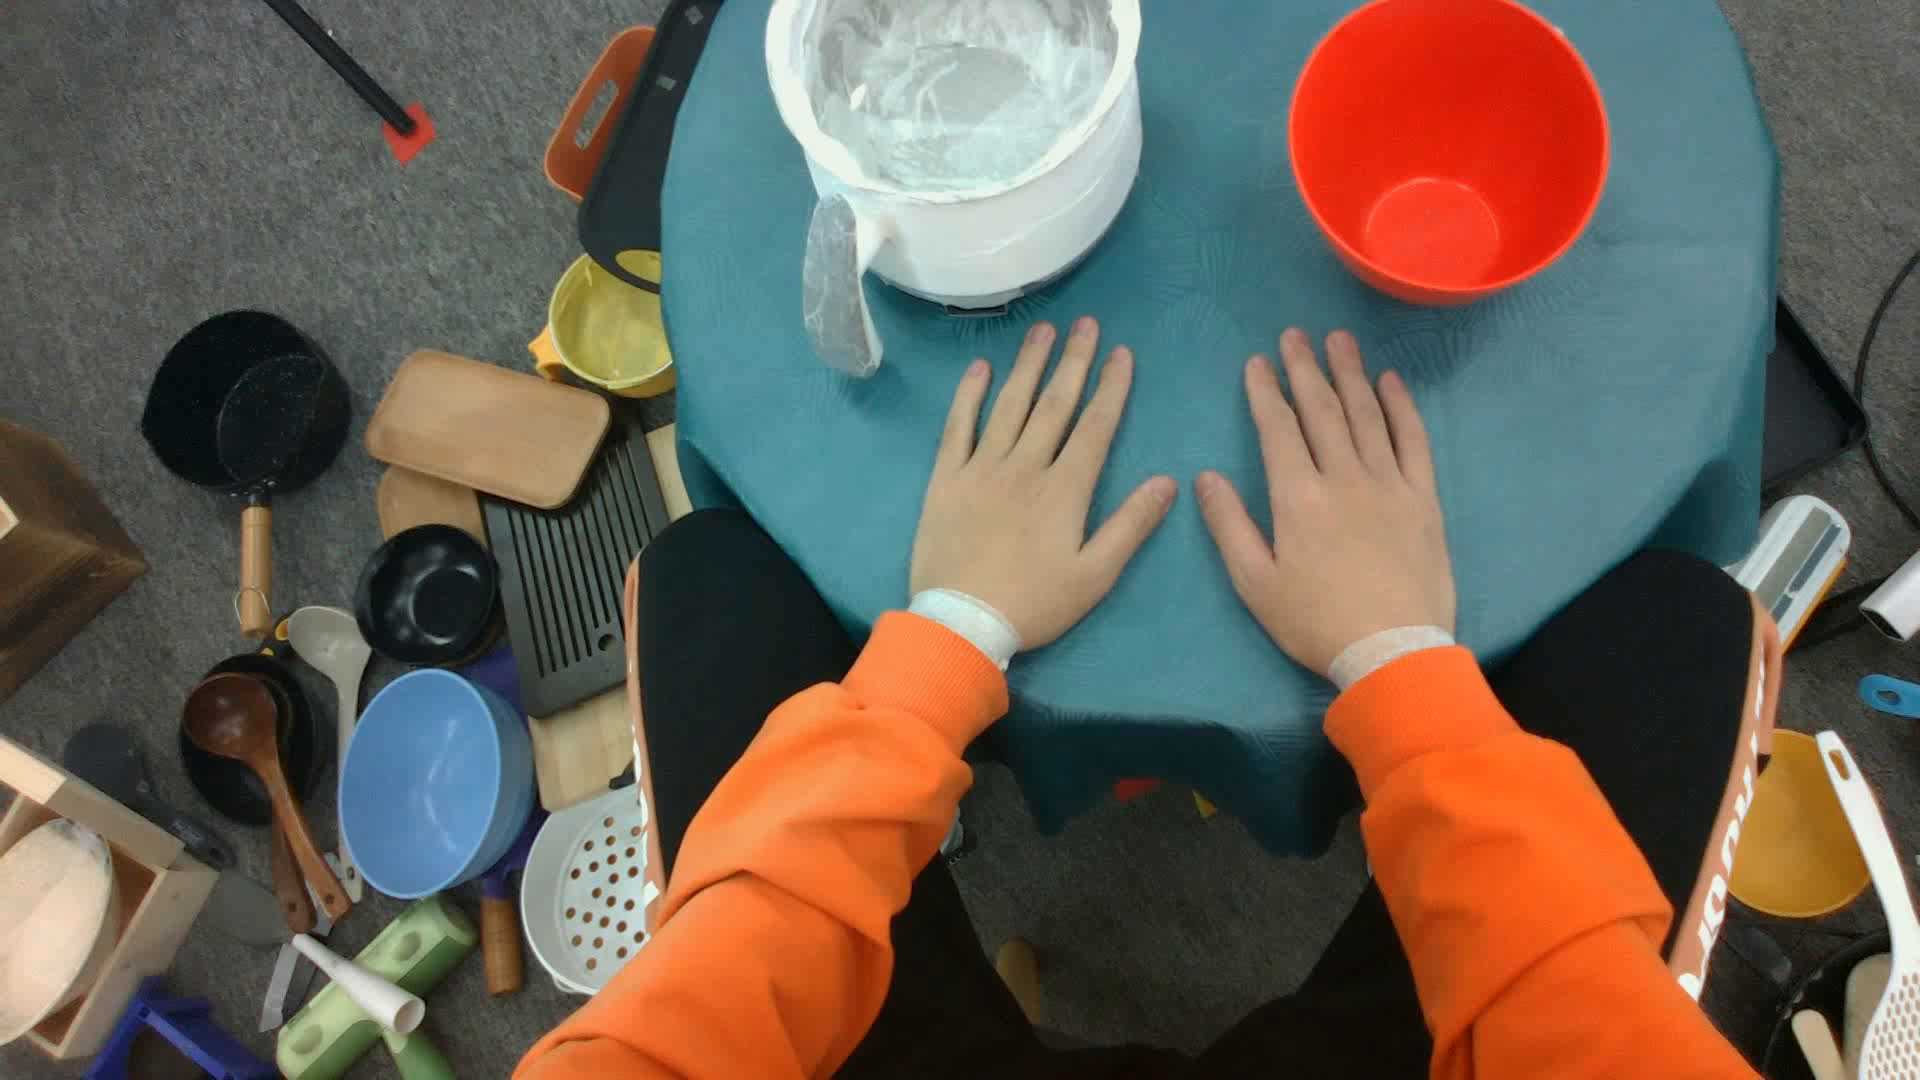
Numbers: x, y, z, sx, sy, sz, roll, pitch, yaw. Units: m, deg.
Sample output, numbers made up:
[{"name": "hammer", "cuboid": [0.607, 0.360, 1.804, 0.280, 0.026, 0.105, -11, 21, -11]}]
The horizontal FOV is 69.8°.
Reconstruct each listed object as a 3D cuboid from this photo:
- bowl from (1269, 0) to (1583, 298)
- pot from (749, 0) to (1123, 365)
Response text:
[{"name": "bowl", "cuboid": [0.225, -0.184, 0.689, 0.148, 0.104, 0.148, -1, 76, 6]}, {"name": "pot", "cuboid": [-0.019, -0.204, 0.704, 0.178, 0.136, 0.234, 27, 80, 14]}]
